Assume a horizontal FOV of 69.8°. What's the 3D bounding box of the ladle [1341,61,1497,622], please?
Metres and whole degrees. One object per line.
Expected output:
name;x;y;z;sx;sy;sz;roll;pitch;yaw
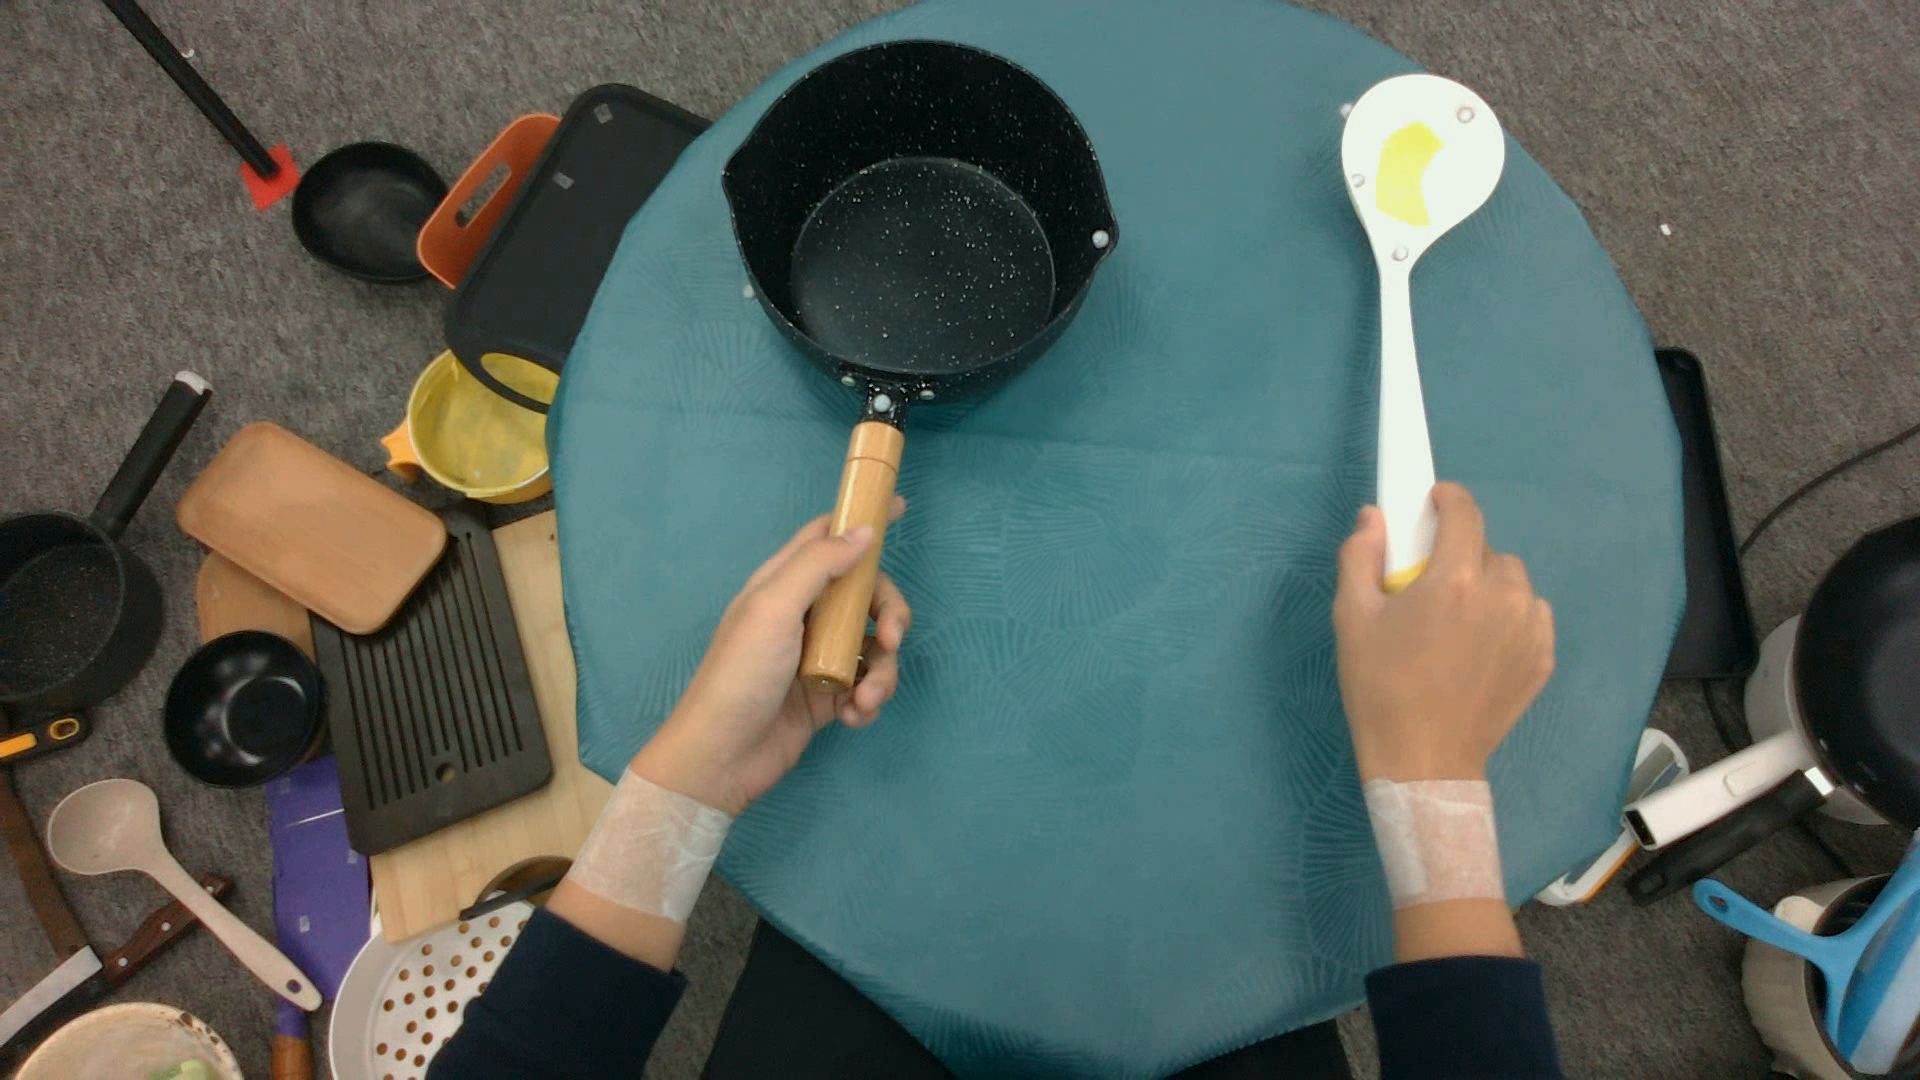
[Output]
ladle;0.231;-0.105;0.706;0.090;0.069;0.294;13;67;-13

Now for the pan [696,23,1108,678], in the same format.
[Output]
pan;-0.039;-0.091;0.686;0.207;0.108;0.343;8;73;0
